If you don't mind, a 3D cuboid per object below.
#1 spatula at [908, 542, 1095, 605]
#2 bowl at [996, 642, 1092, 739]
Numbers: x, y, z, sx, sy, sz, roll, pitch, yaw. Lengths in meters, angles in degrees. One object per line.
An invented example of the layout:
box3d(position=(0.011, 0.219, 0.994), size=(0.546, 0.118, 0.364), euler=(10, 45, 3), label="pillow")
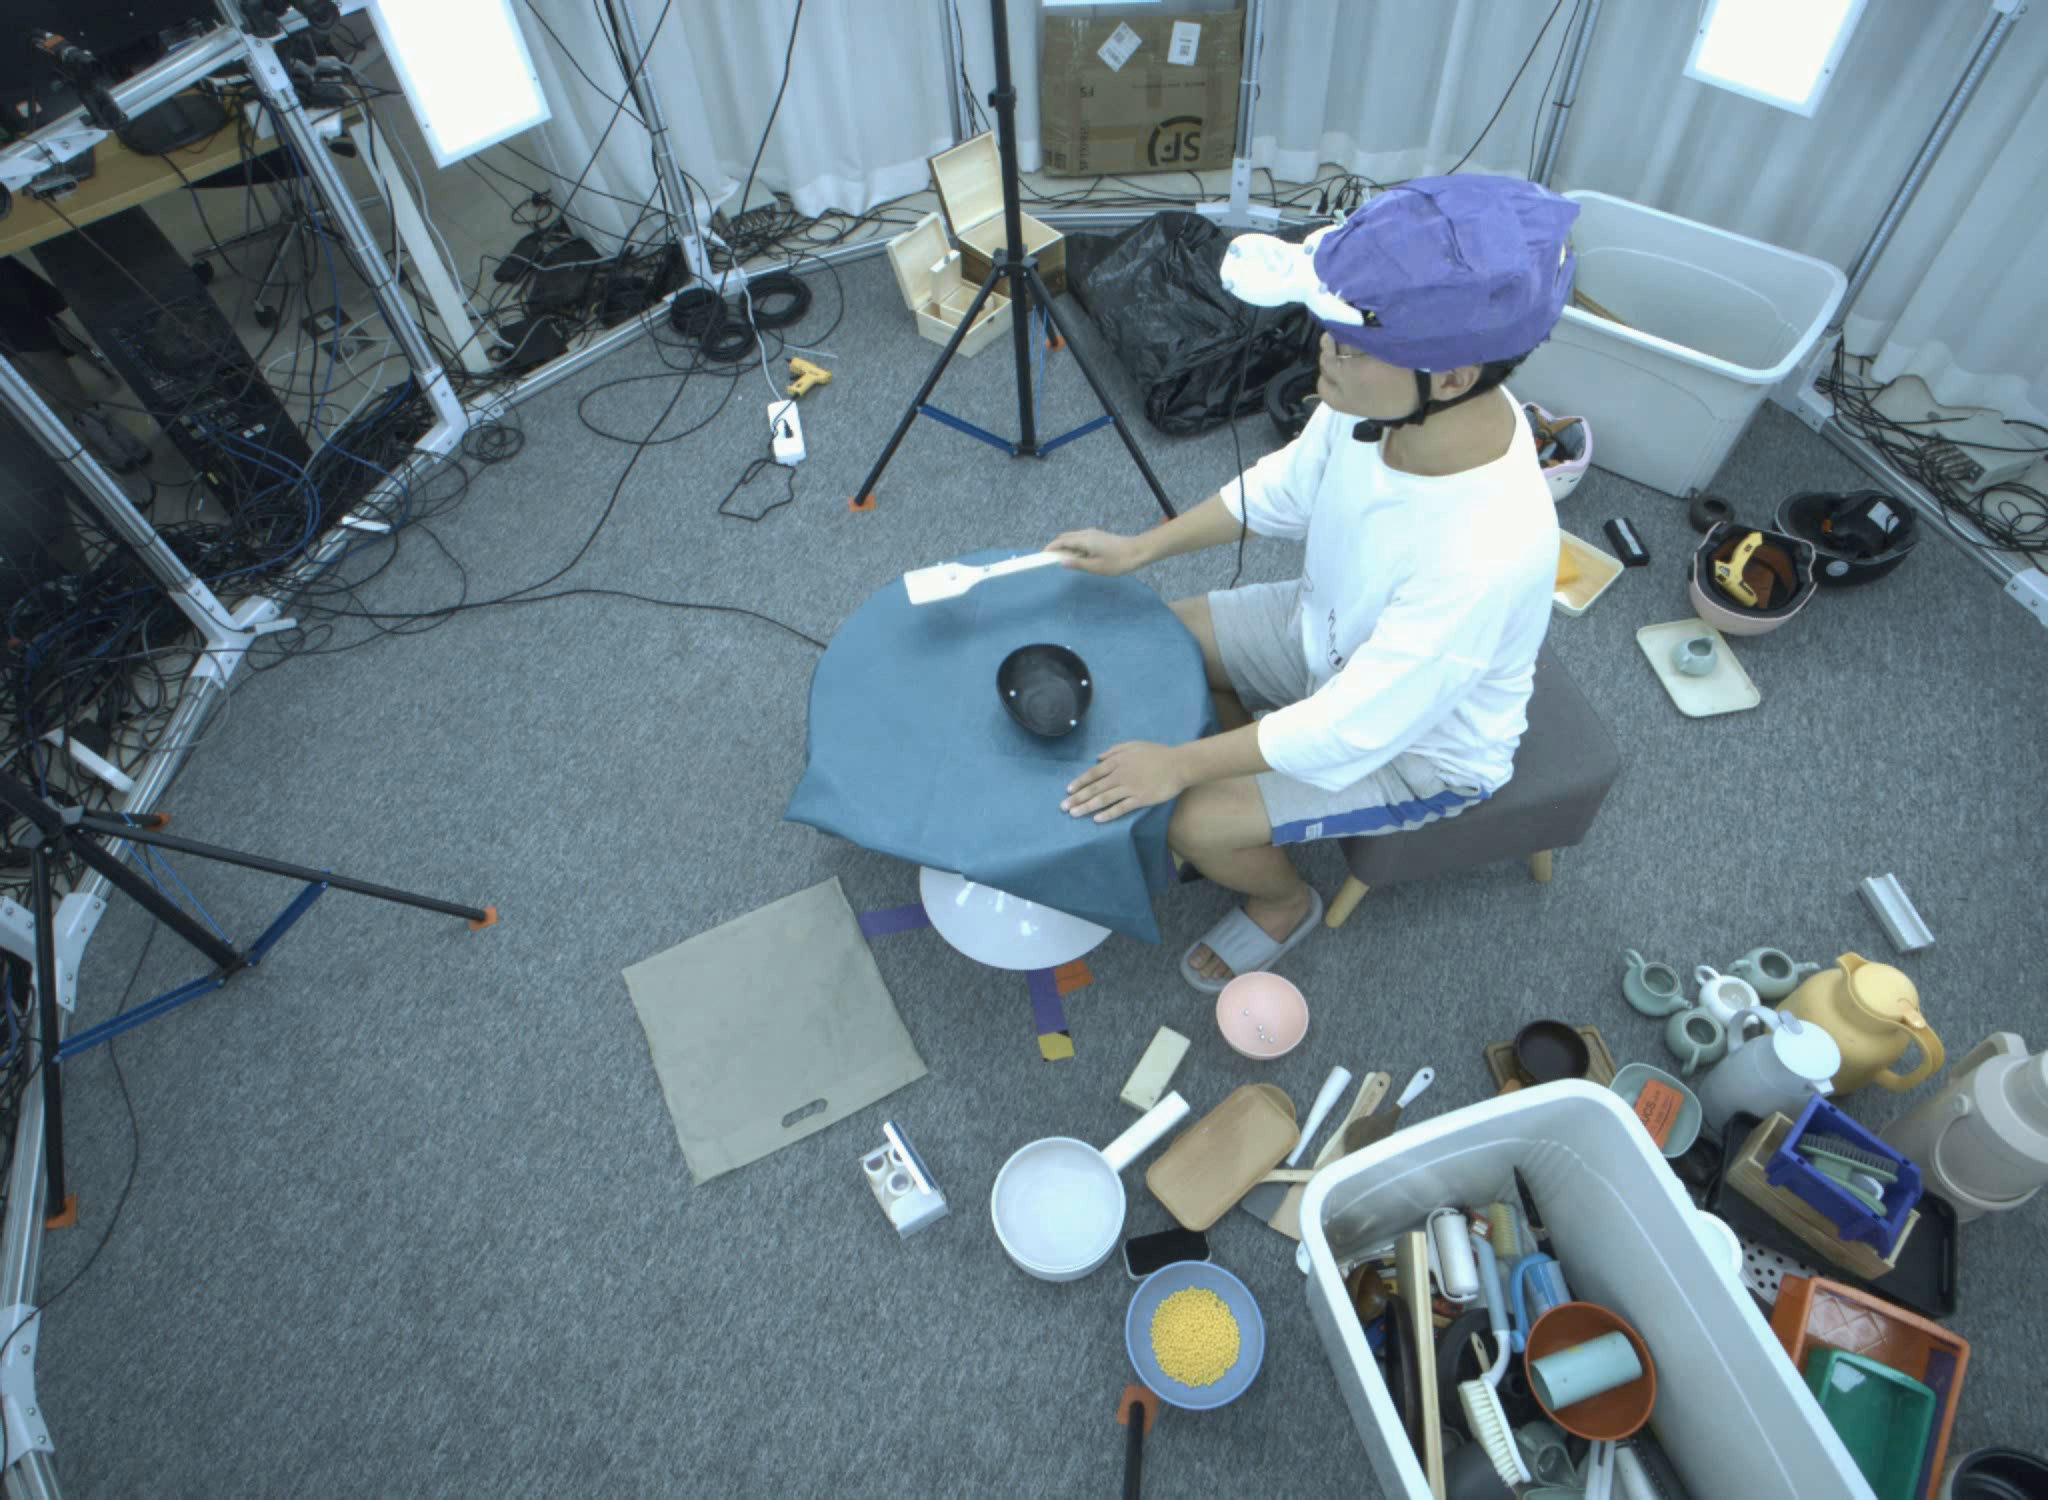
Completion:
box3d(position=(-0.033, -0.281, 1.891), size=(0.294, 0.011, 0.071), euler=(-14, 54, -8), label="spatula")
box3d(position=(0.031, -0.079, 1.801), size=(0.138, 0.067, 0.167), euler=(-16, 58, -10), label="bowl")
